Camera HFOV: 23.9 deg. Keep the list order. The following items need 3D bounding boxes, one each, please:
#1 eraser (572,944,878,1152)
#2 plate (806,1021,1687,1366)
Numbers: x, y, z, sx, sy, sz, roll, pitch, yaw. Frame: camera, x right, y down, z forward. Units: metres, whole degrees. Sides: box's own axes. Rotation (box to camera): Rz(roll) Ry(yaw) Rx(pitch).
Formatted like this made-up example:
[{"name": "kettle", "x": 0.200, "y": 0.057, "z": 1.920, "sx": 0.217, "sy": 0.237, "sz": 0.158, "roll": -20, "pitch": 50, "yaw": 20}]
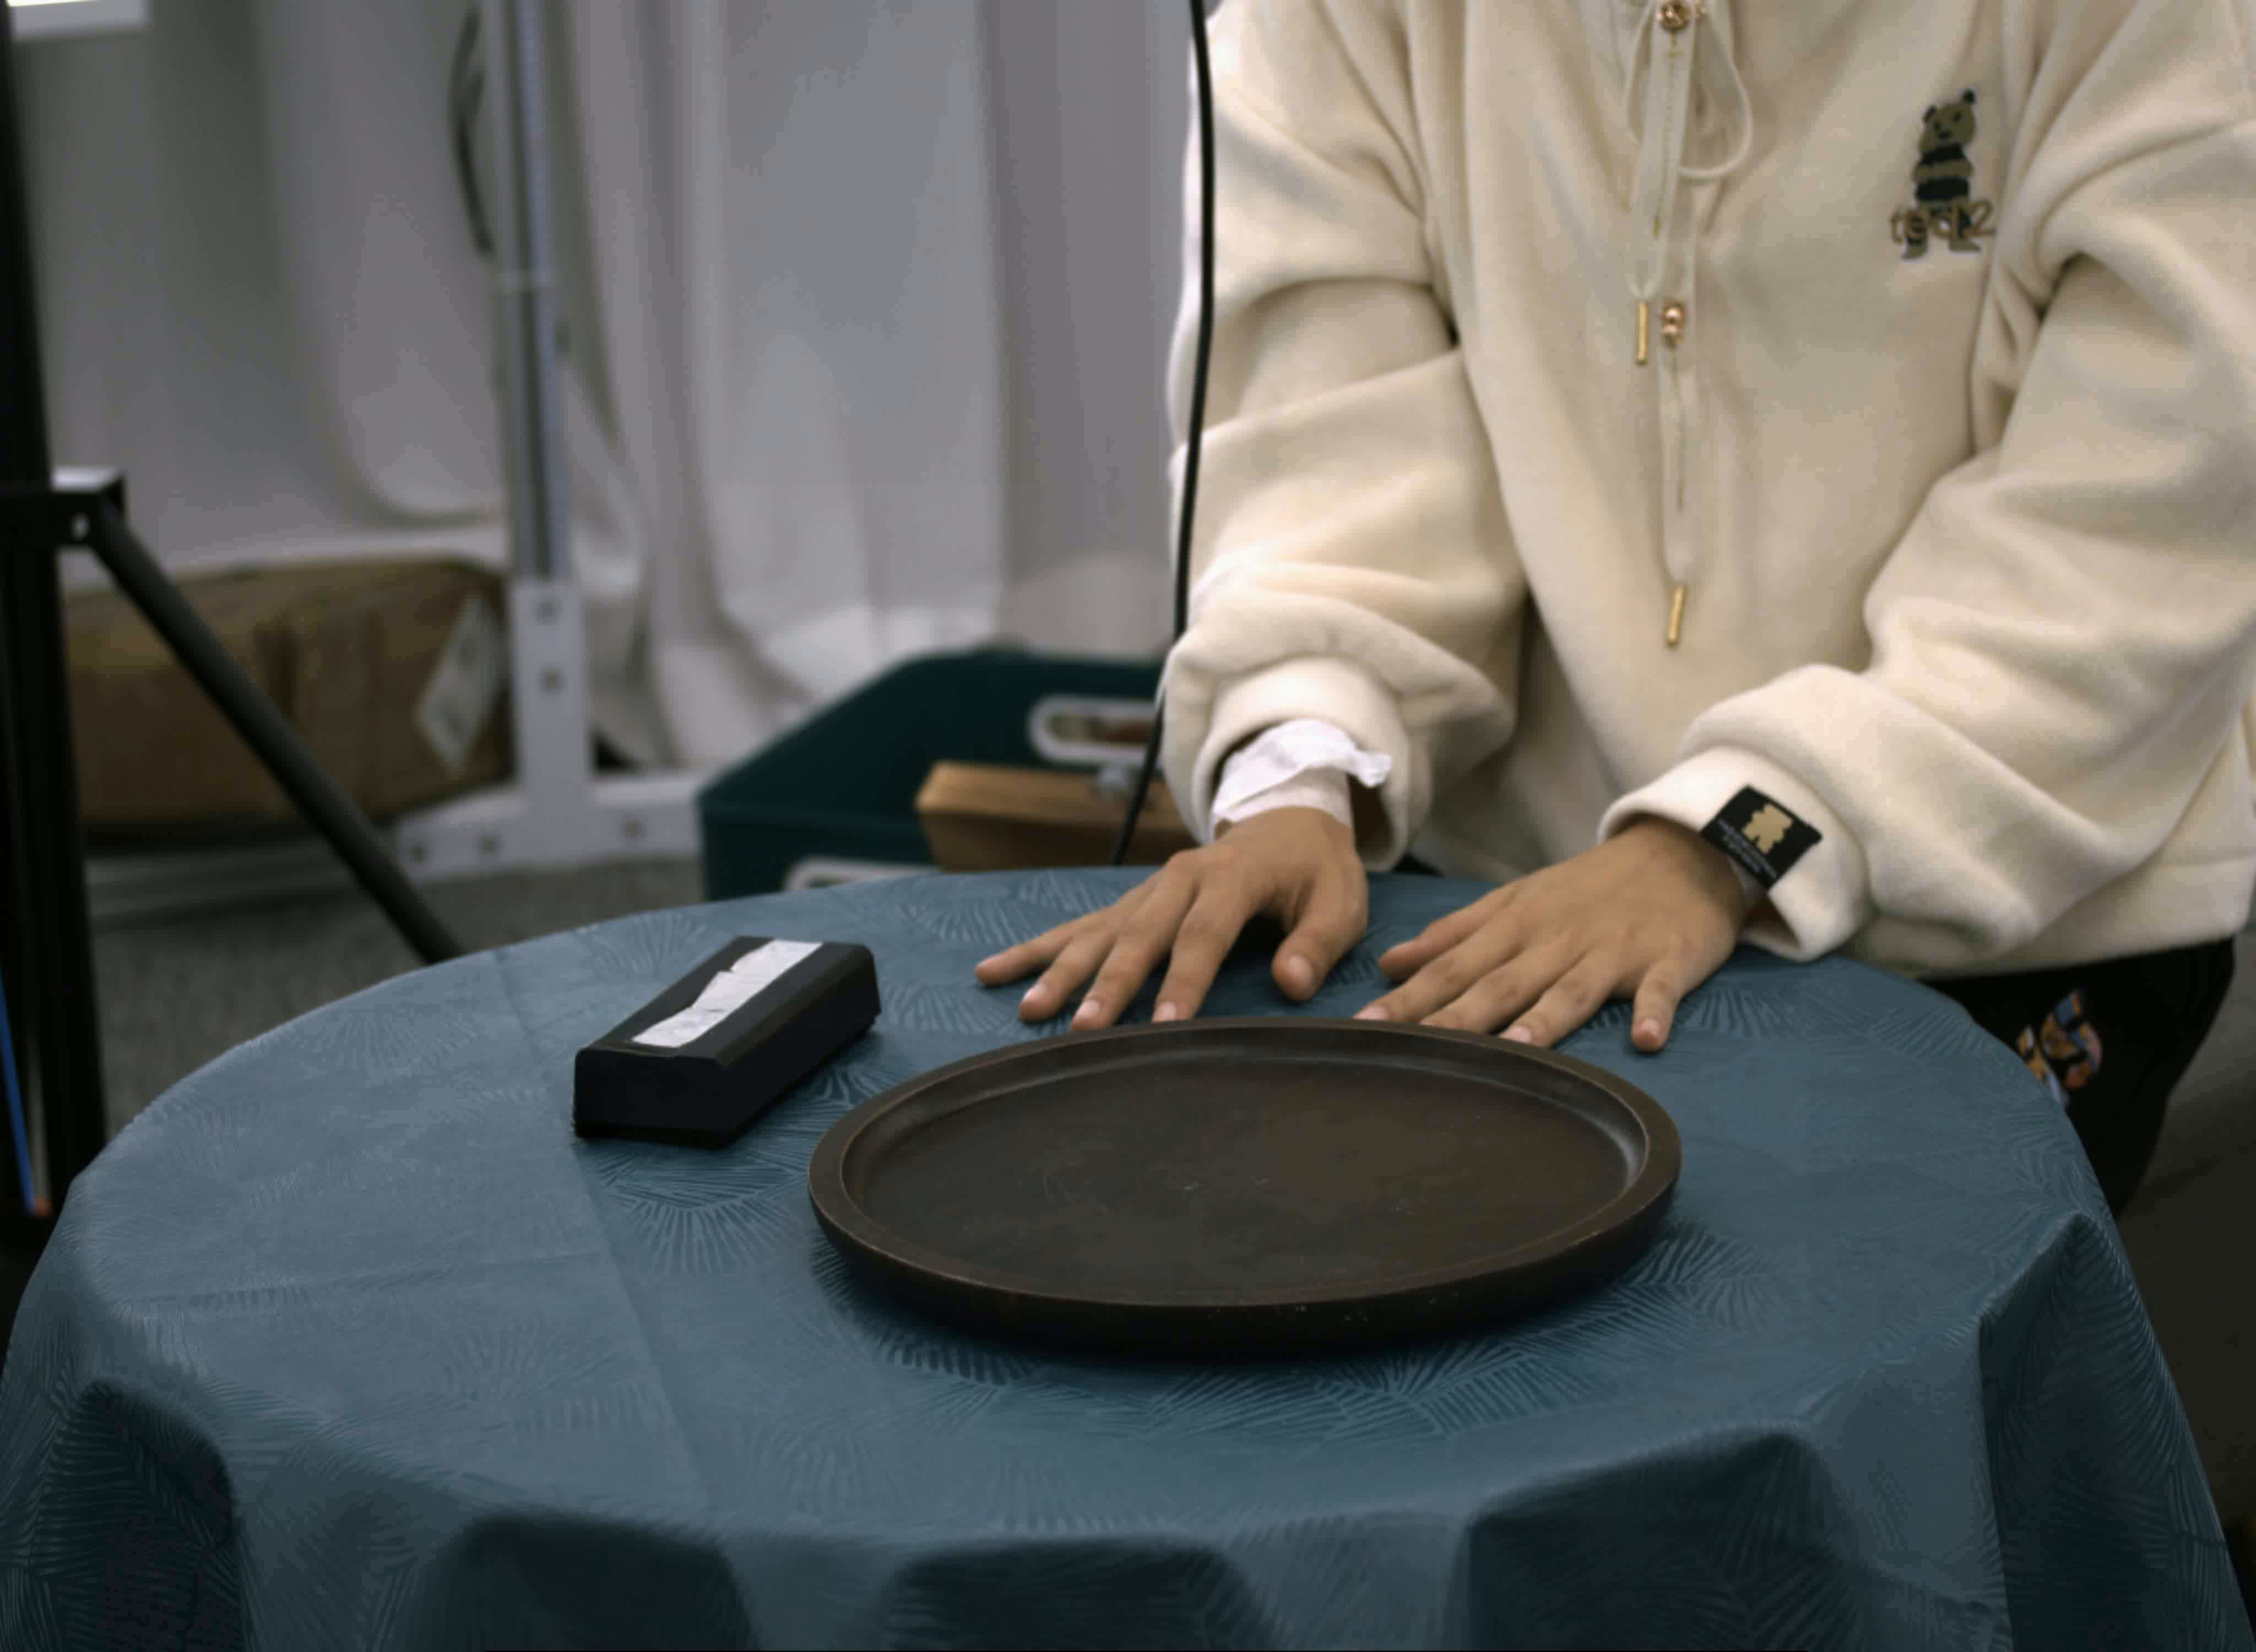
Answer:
[{"name": "eraser", "x": -0.125, "y": 0.069, "z": 1.670, "sx": 0.054, "sy": 0.030, "sz": 0.124, "roll": 5, "pitch": 16, "yaw": 19}, {"name": "plate", "x": 0.034, "y": 0.102, "z": 1.527, "sx": 0.253, "sy": 0.029, "sz": 0.256, "roll": -4, "pitch": 17, "yaw": 0}]
